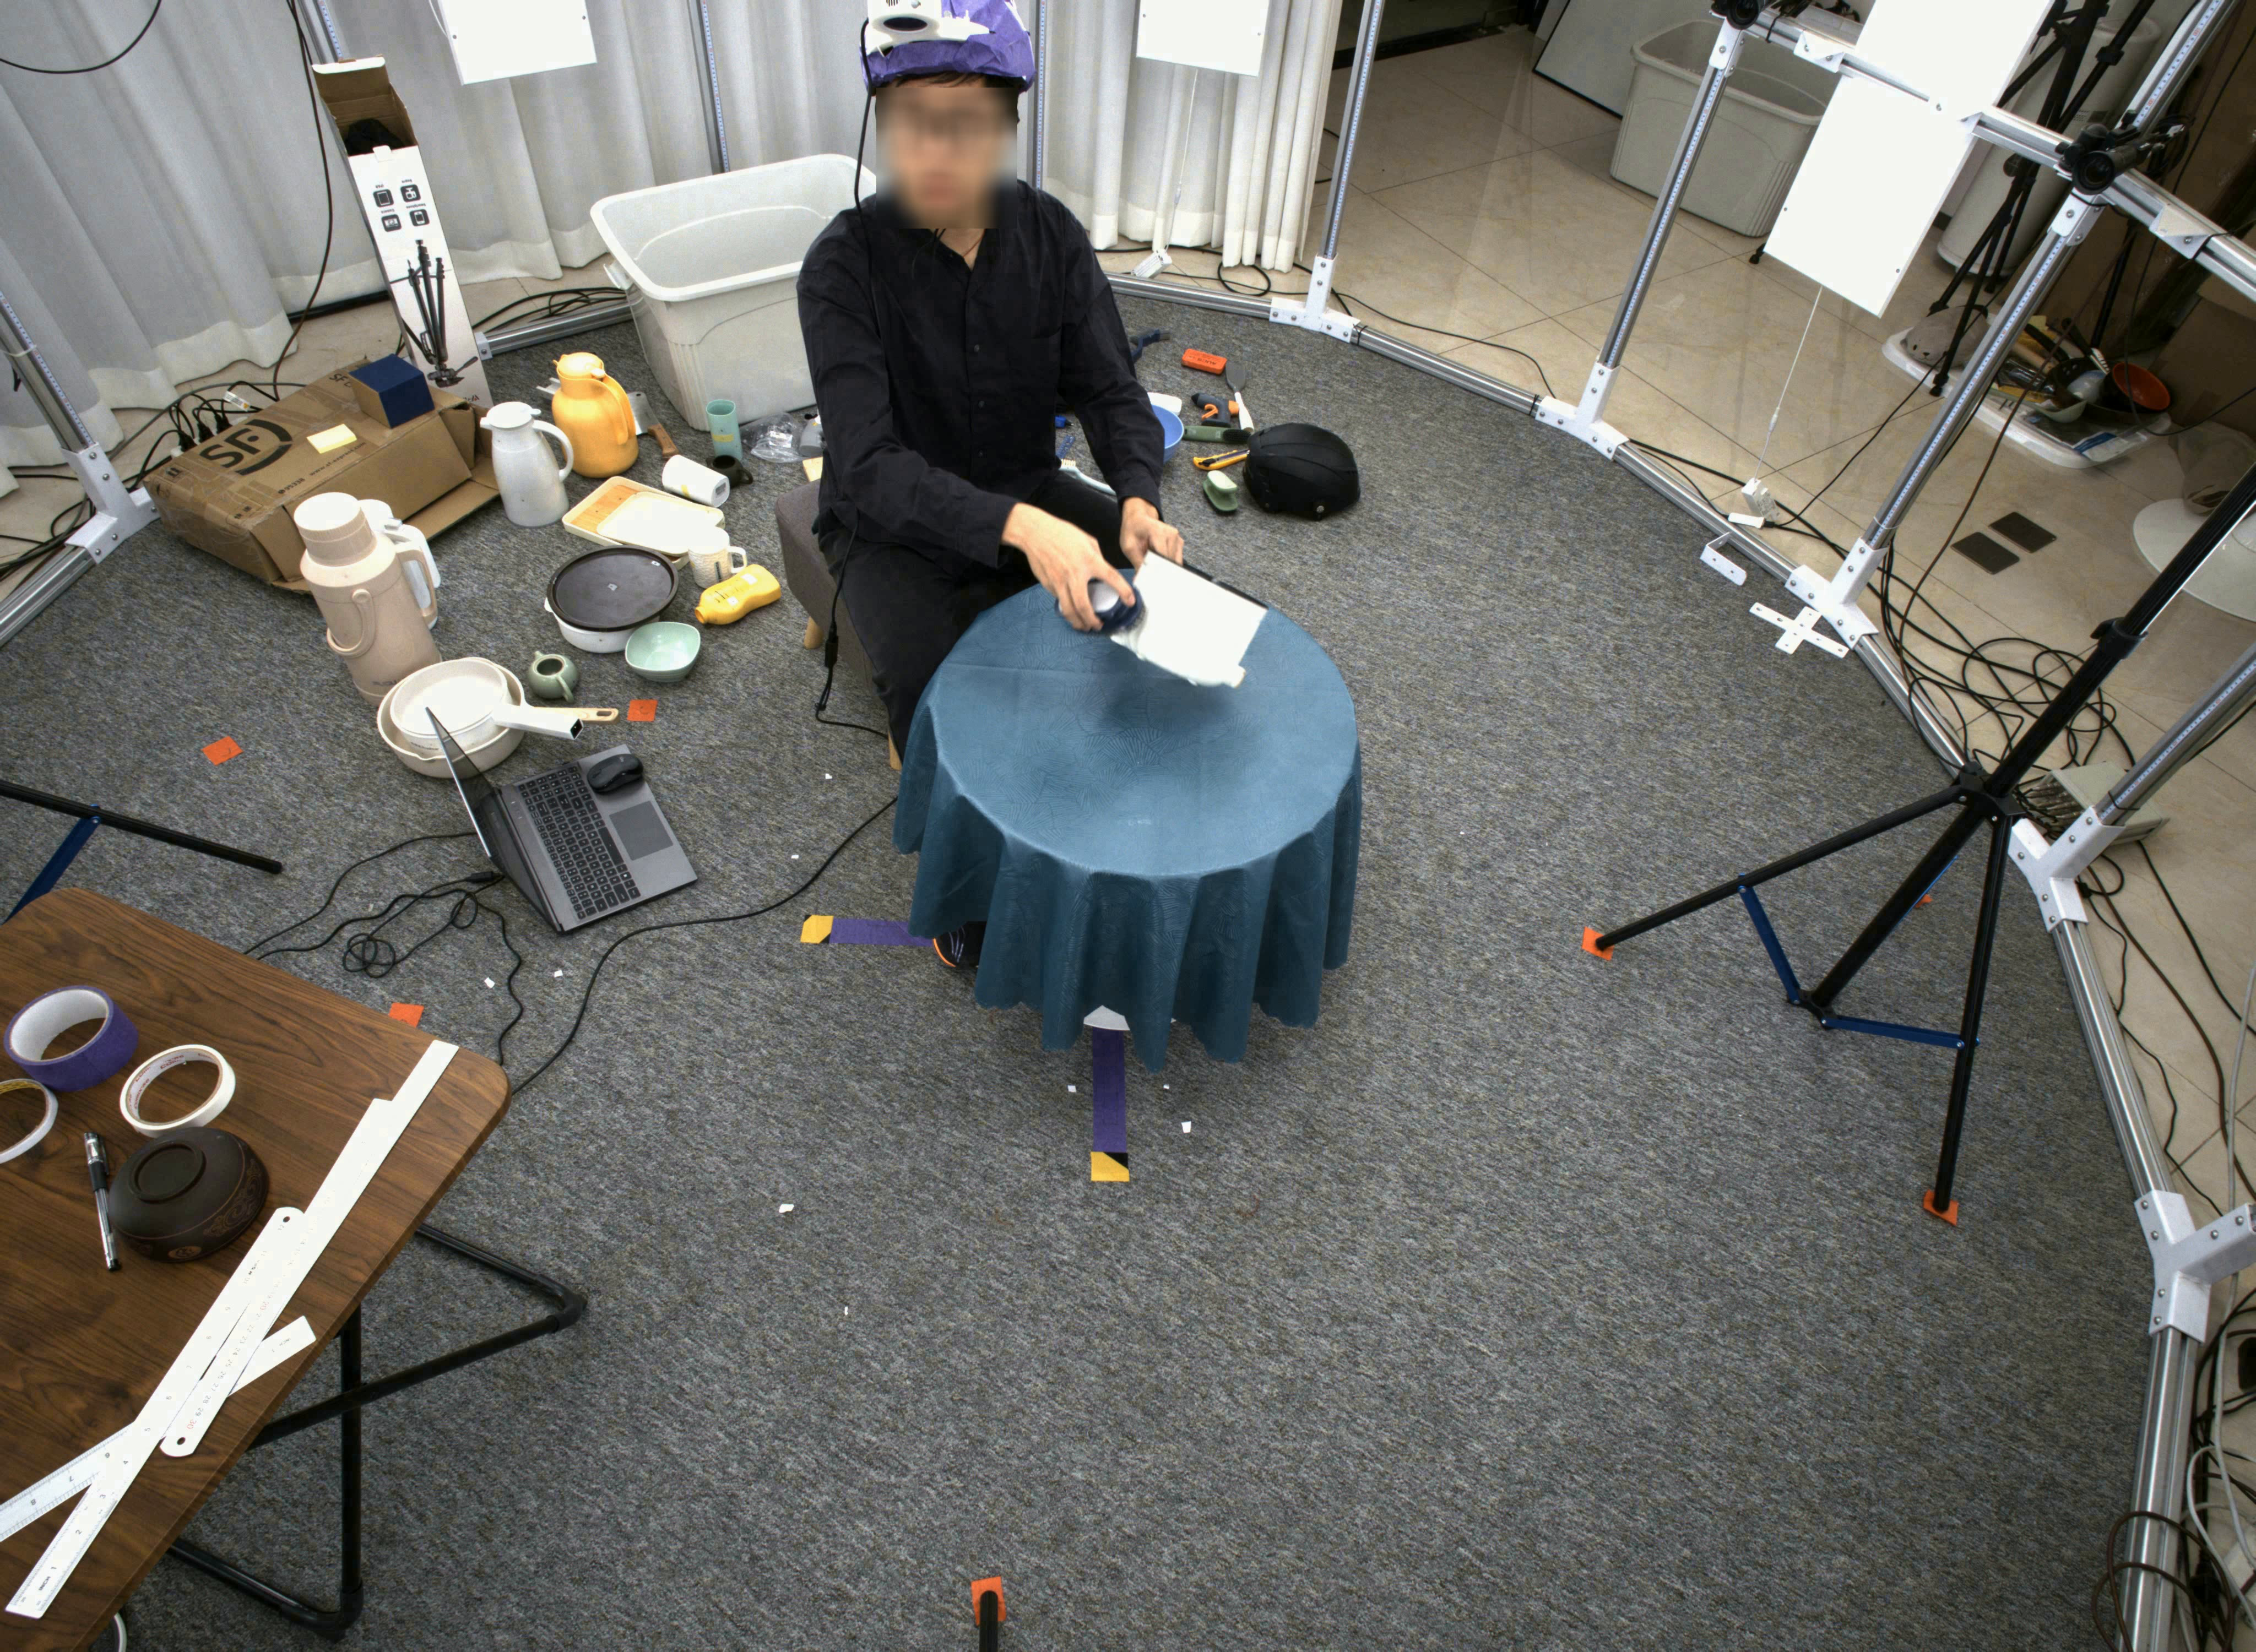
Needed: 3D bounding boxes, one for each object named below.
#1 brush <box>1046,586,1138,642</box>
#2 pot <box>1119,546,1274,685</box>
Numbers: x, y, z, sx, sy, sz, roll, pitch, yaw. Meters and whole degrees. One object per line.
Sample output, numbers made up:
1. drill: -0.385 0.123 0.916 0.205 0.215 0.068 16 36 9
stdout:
1. brush: -0.045 -0.273 1.670 0.122 0.060 0.068 7 76 34
2. pot: 0.095 -0.283 1.774 0.190 0.141 0.243 22 15 -8
